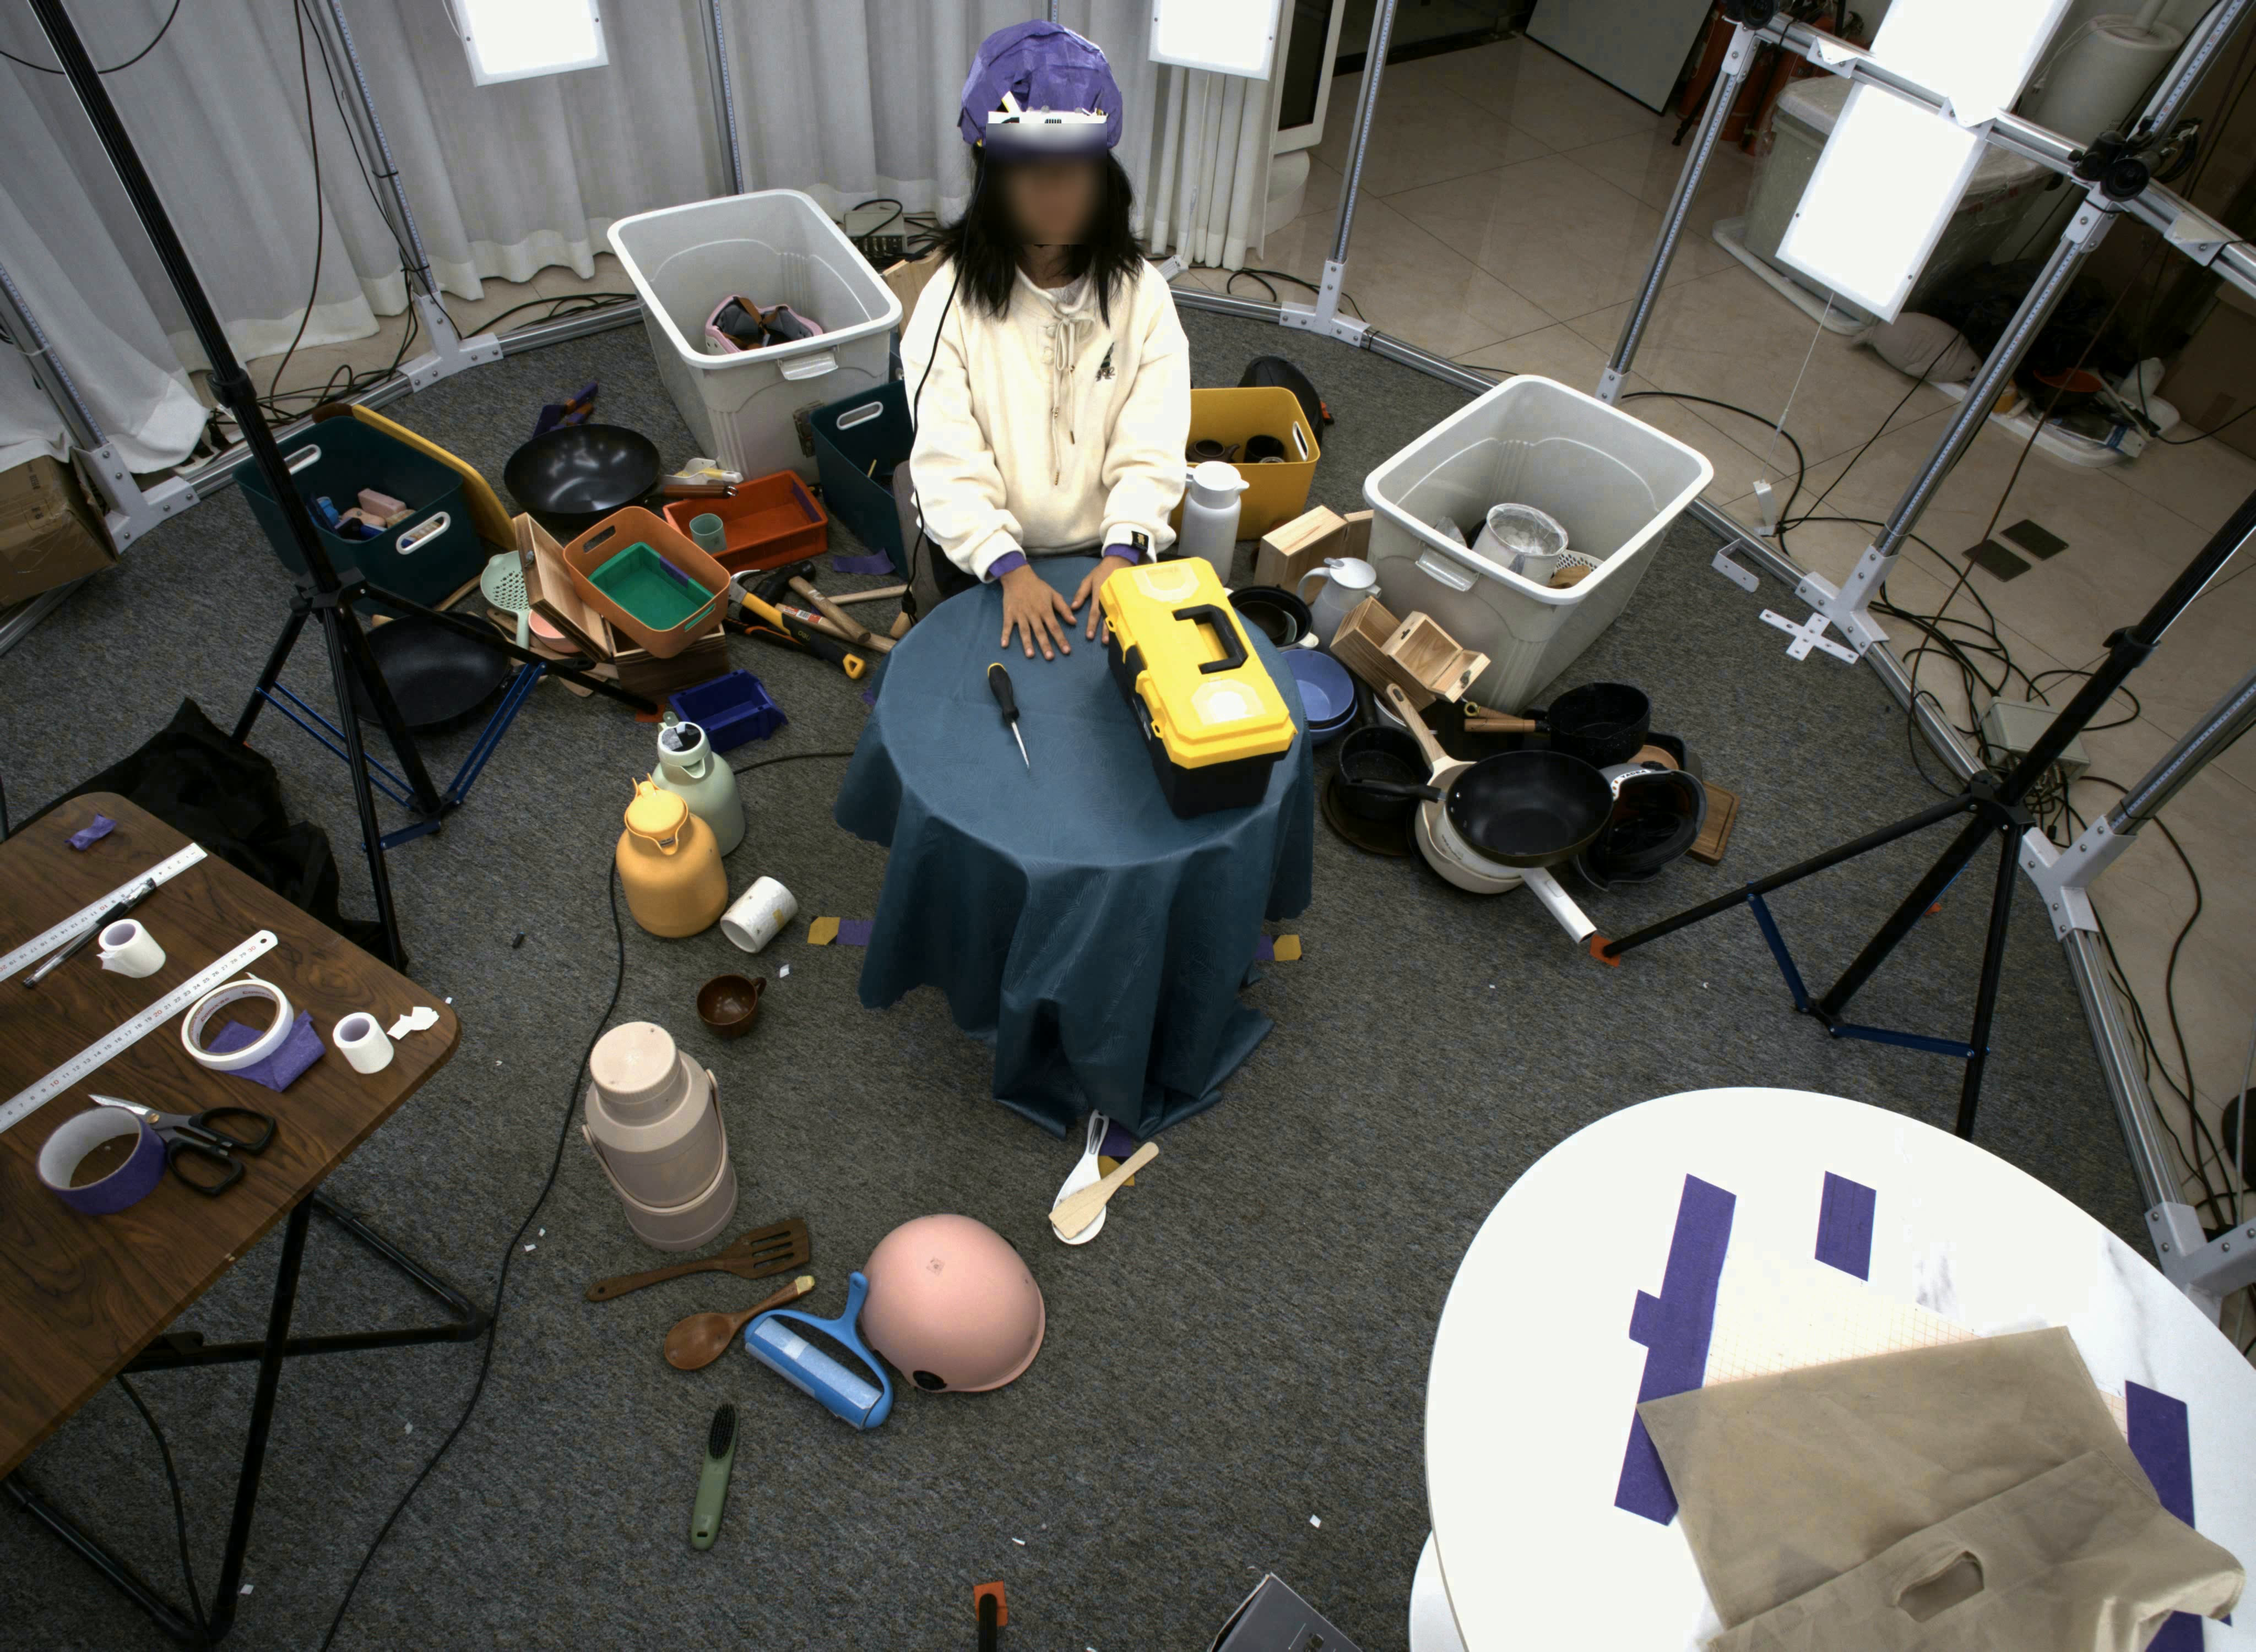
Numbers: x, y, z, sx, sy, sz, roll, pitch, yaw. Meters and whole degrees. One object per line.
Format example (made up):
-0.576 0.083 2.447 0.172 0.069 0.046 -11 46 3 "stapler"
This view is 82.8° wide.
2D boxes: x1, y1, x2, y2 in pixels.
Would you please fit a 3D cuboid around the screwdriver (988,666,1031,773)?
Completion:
-0.162 -0.146 1.780 0.031 0.031 0.202 -10 55 -13 "screwdriver"

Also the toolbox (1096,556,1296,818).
0.083 -0.189 1.728 0.181 0.168 0.360 -10 51 -13 "toolbox"
